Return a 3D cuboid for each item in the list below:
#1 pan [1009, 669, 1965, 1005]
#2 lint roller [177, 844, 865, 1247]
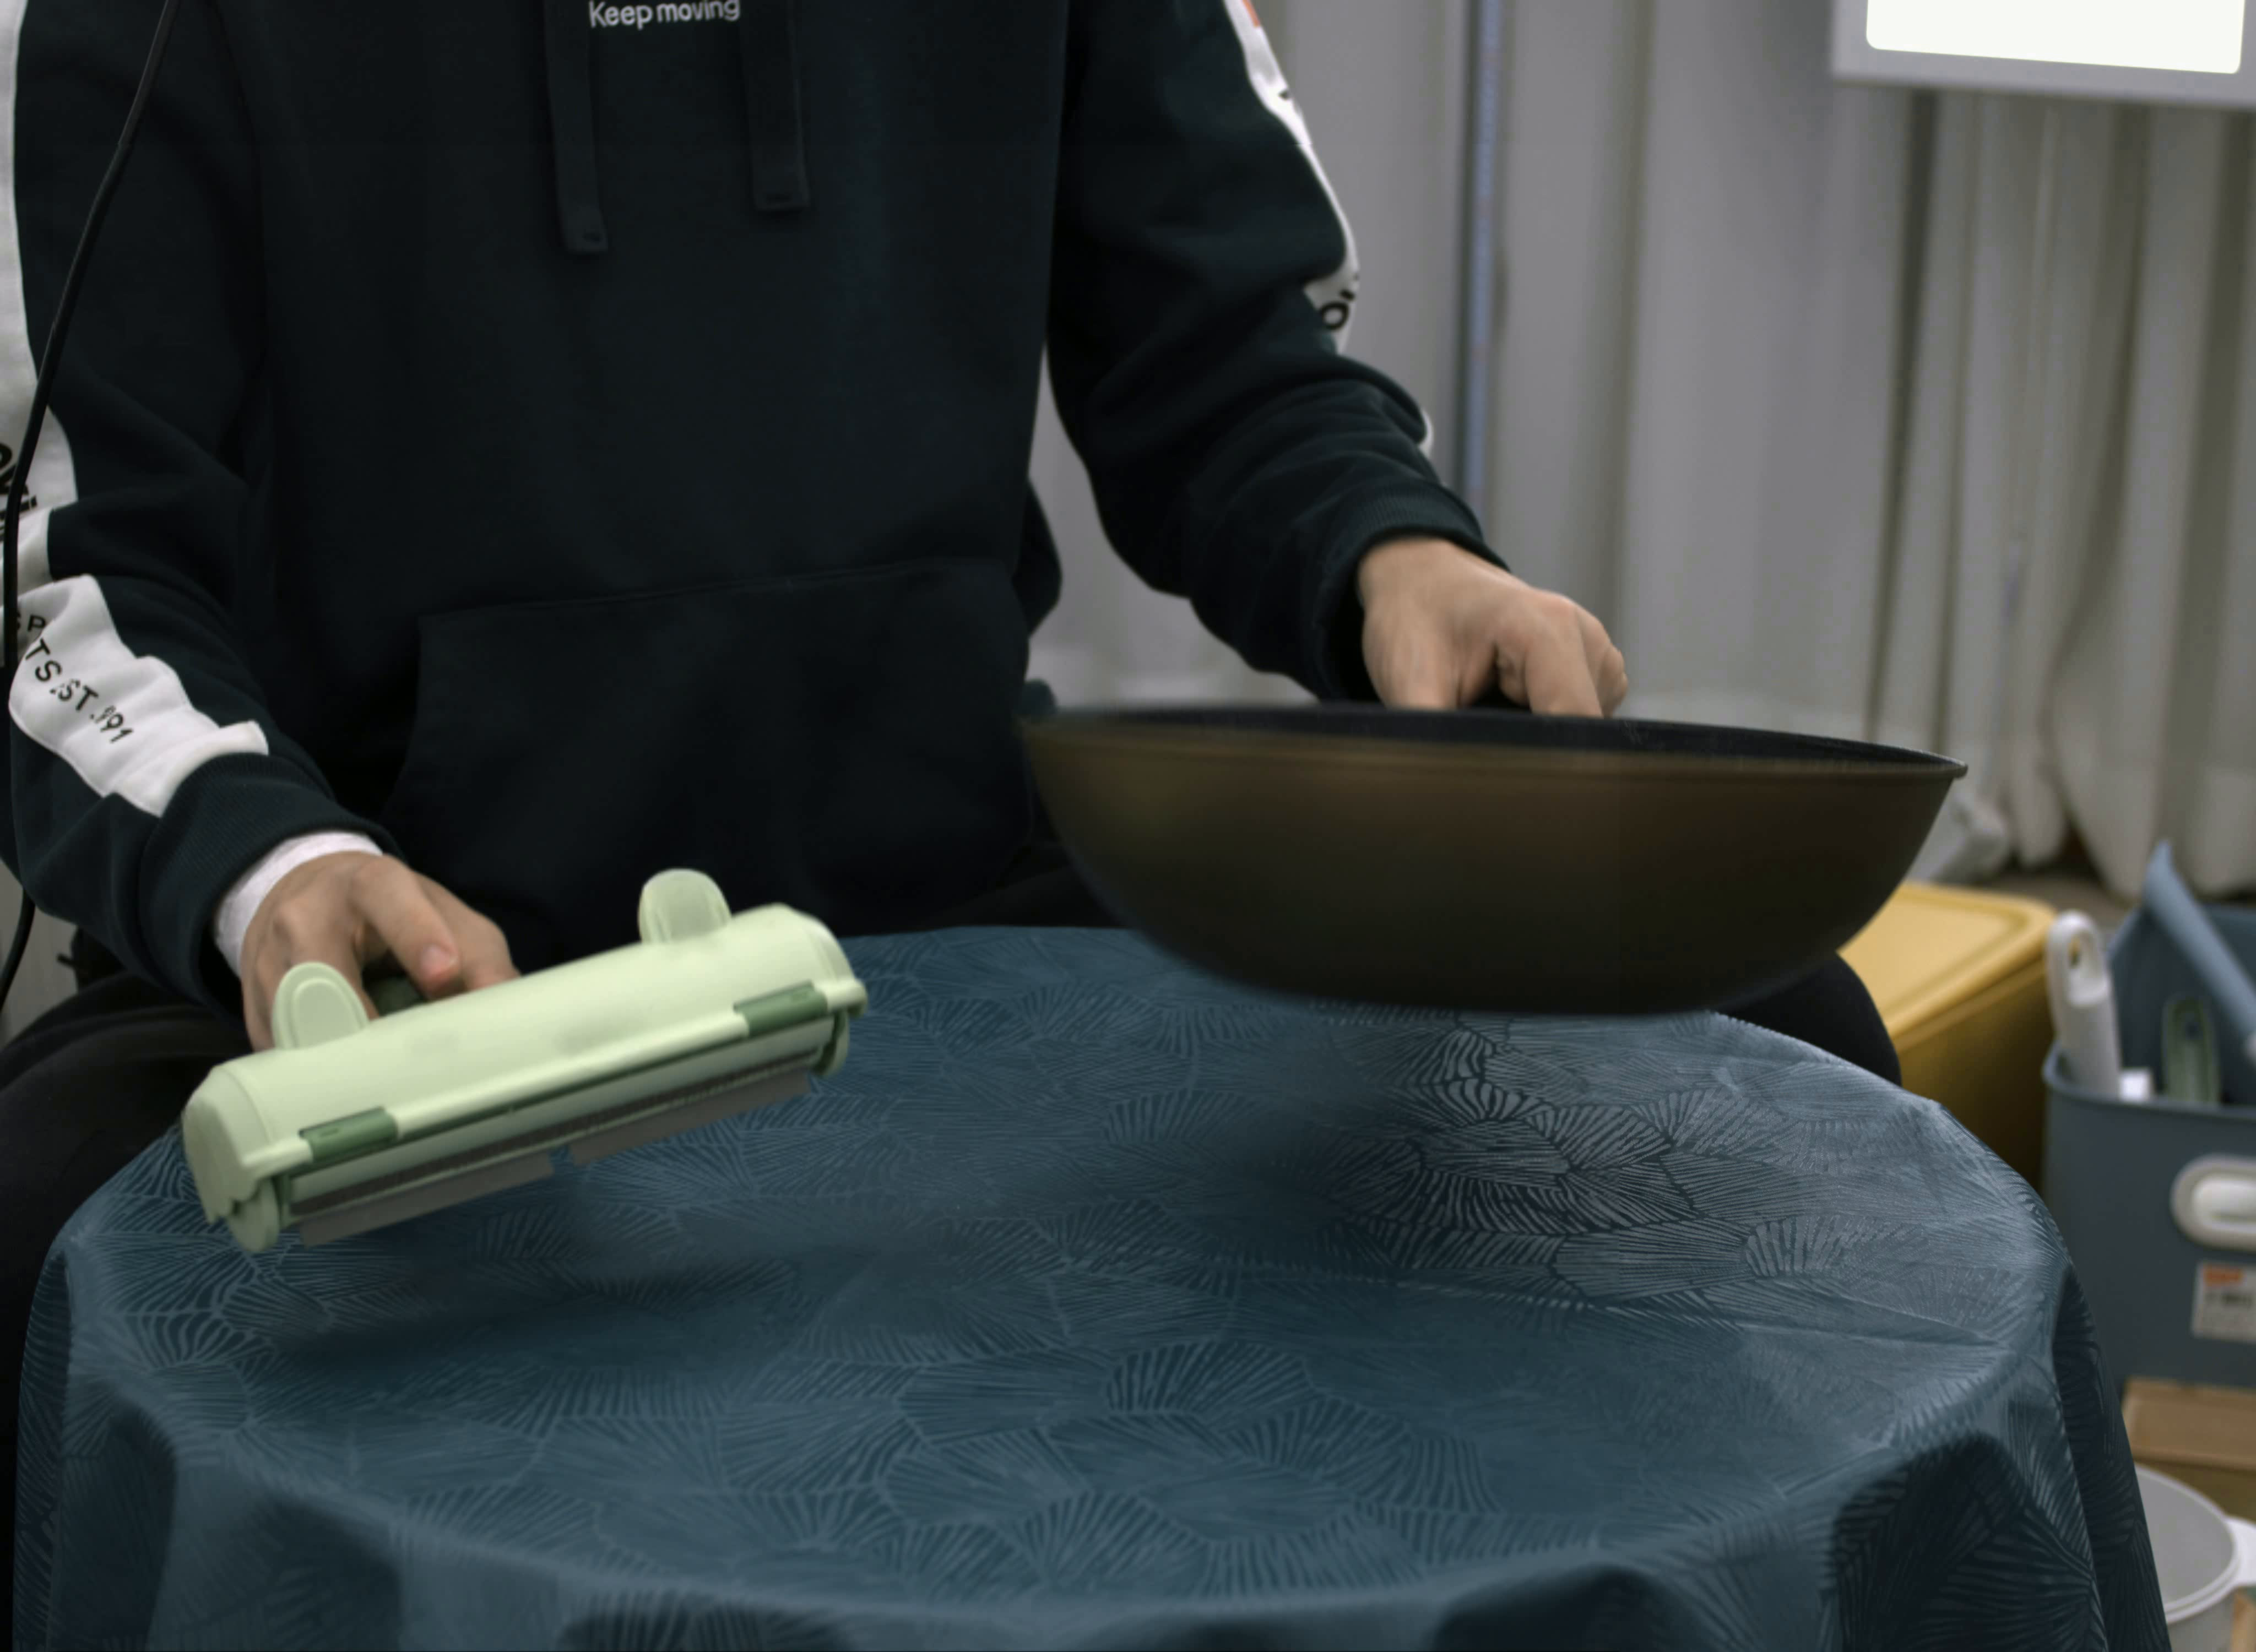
[{"bbox_3d":[0.110,0.001,1.669,0.287,0.087,0.463,5,2,4],"label":"pan"},{"bbox_3d":[-0.201,0.048,1.548,0.199,0.083,0.181,-17,23,-27],"label":"lint roller"}]
